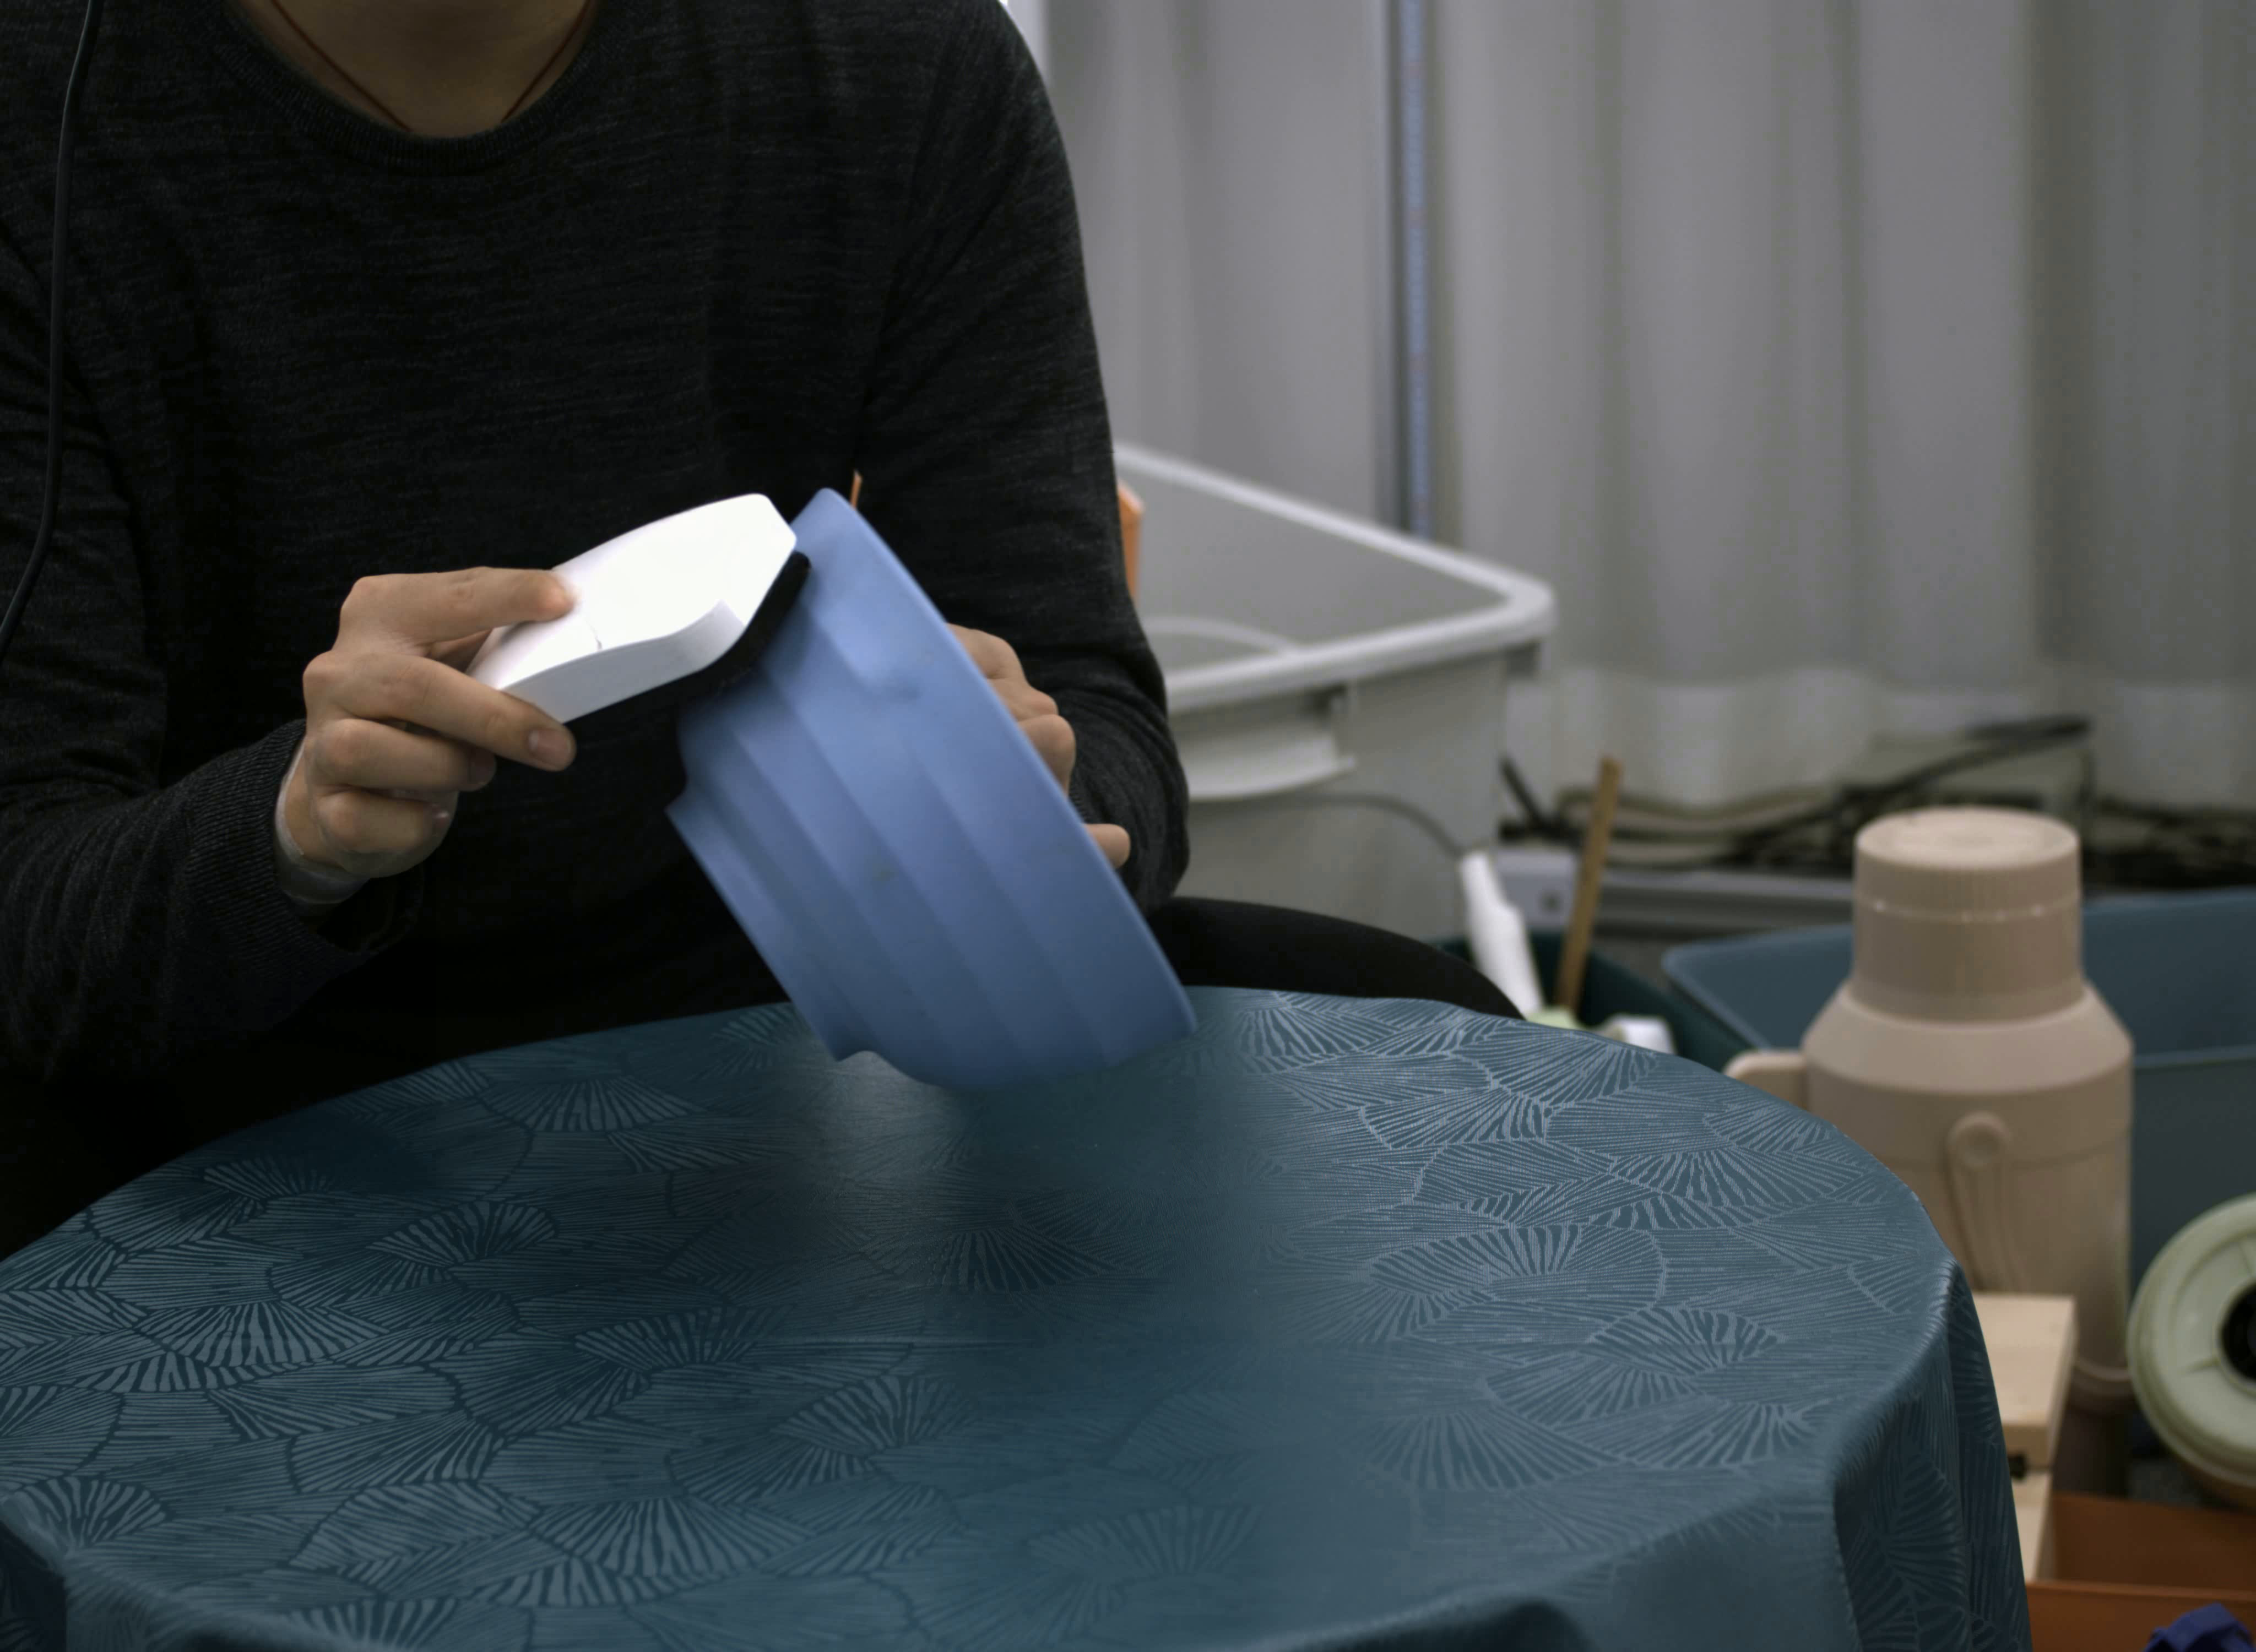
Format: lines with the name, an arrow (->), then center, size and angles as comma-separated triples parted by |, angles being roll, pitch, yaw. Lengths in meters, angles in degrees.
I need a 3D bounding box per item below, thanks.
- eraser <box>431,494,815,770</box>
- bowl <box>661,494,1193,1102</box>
eraser -> -0.148, -0.058, 1.593 | 0.131, 0.034, 0.064 | -18, 32, 44
bowl -> -0.075, 0.008, 1.622 | 0.095, 0.195, 0.198 | -34, 19, -4
